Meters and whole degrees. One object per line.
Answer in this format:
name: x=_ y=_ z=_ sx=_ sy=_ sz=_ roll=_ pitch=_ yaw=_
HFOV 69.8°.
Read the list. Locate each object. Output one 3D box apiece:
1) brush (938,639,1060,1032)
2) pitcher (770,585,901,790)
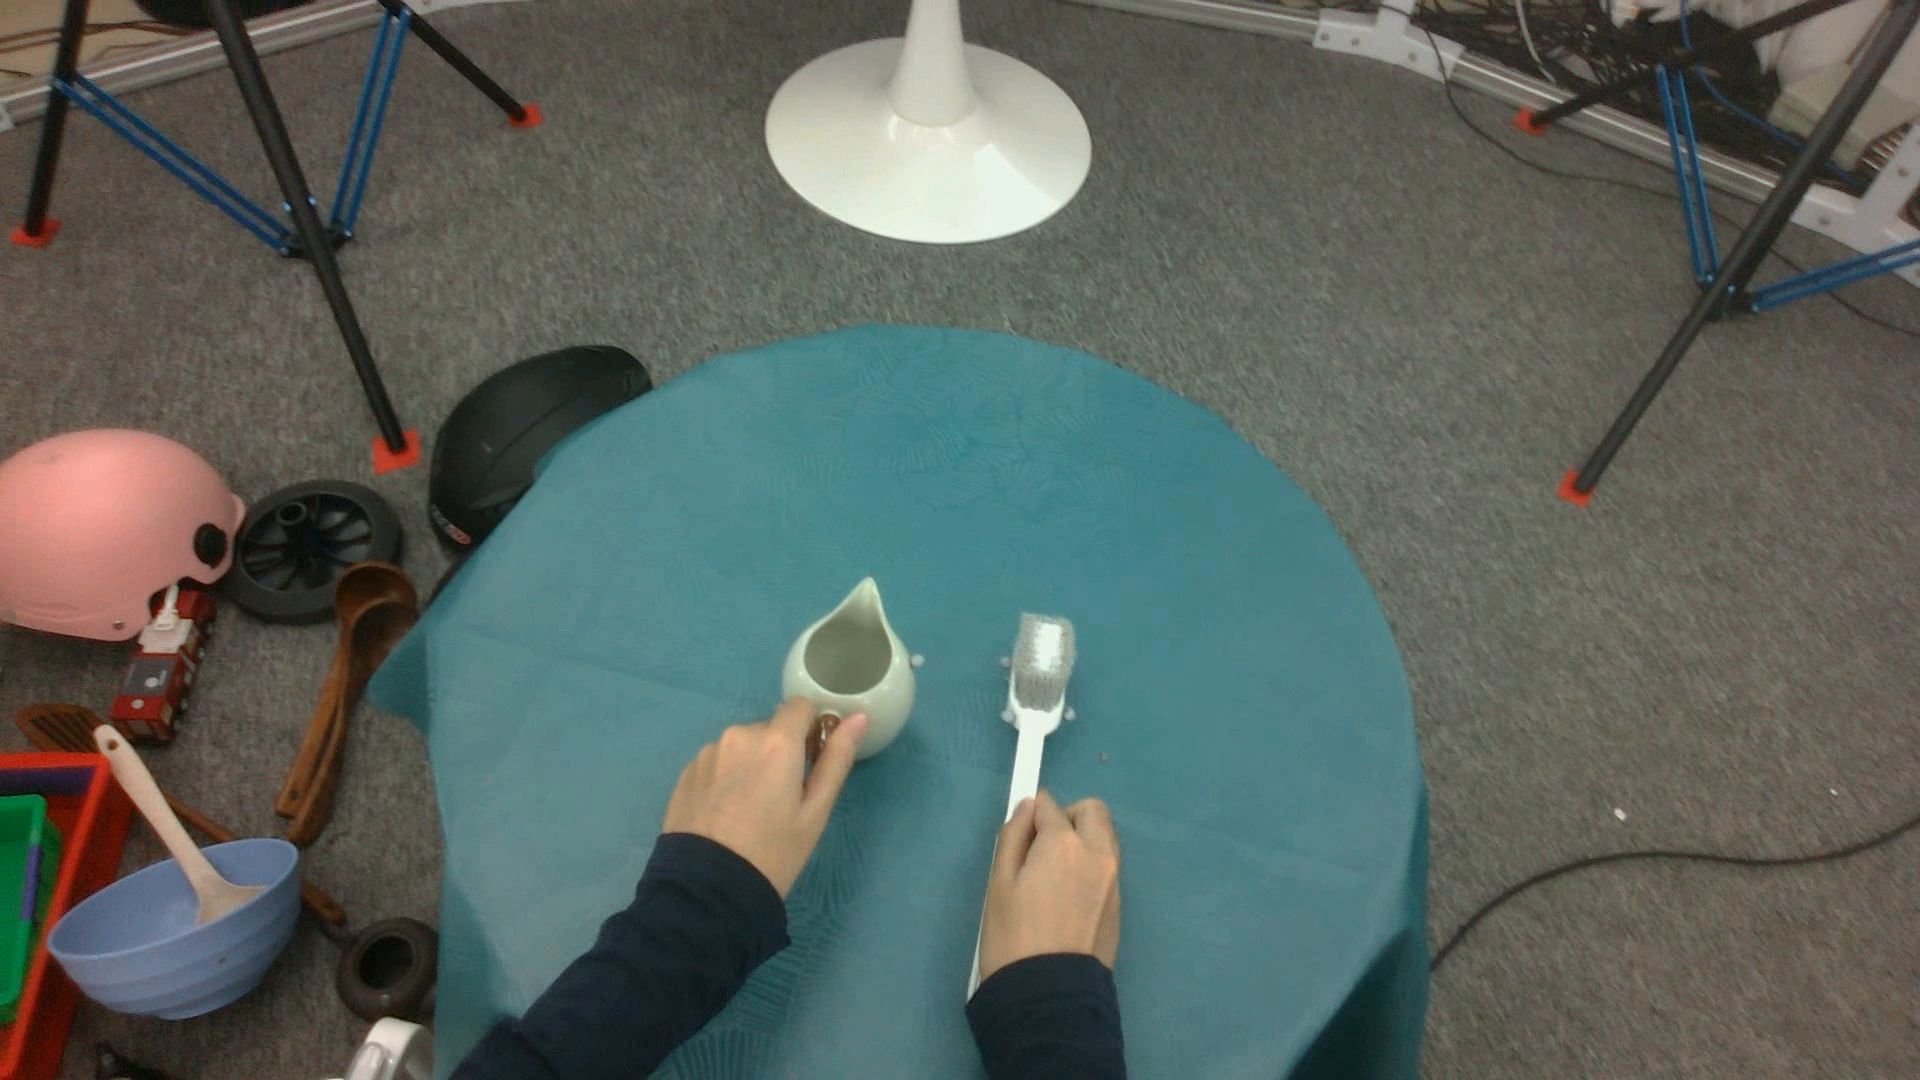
brush: x=0.024 y=0.154 z=0.777 sx=0.034 sy=0.050 sz=0.245 roll=15 pitch=46 yaw=-1
pitcher: x=-0.074 y=0.099 z=0.799 sx=0.076 sy=0.087 sz=0.120 roll=11 pitch=48 yaw=9
